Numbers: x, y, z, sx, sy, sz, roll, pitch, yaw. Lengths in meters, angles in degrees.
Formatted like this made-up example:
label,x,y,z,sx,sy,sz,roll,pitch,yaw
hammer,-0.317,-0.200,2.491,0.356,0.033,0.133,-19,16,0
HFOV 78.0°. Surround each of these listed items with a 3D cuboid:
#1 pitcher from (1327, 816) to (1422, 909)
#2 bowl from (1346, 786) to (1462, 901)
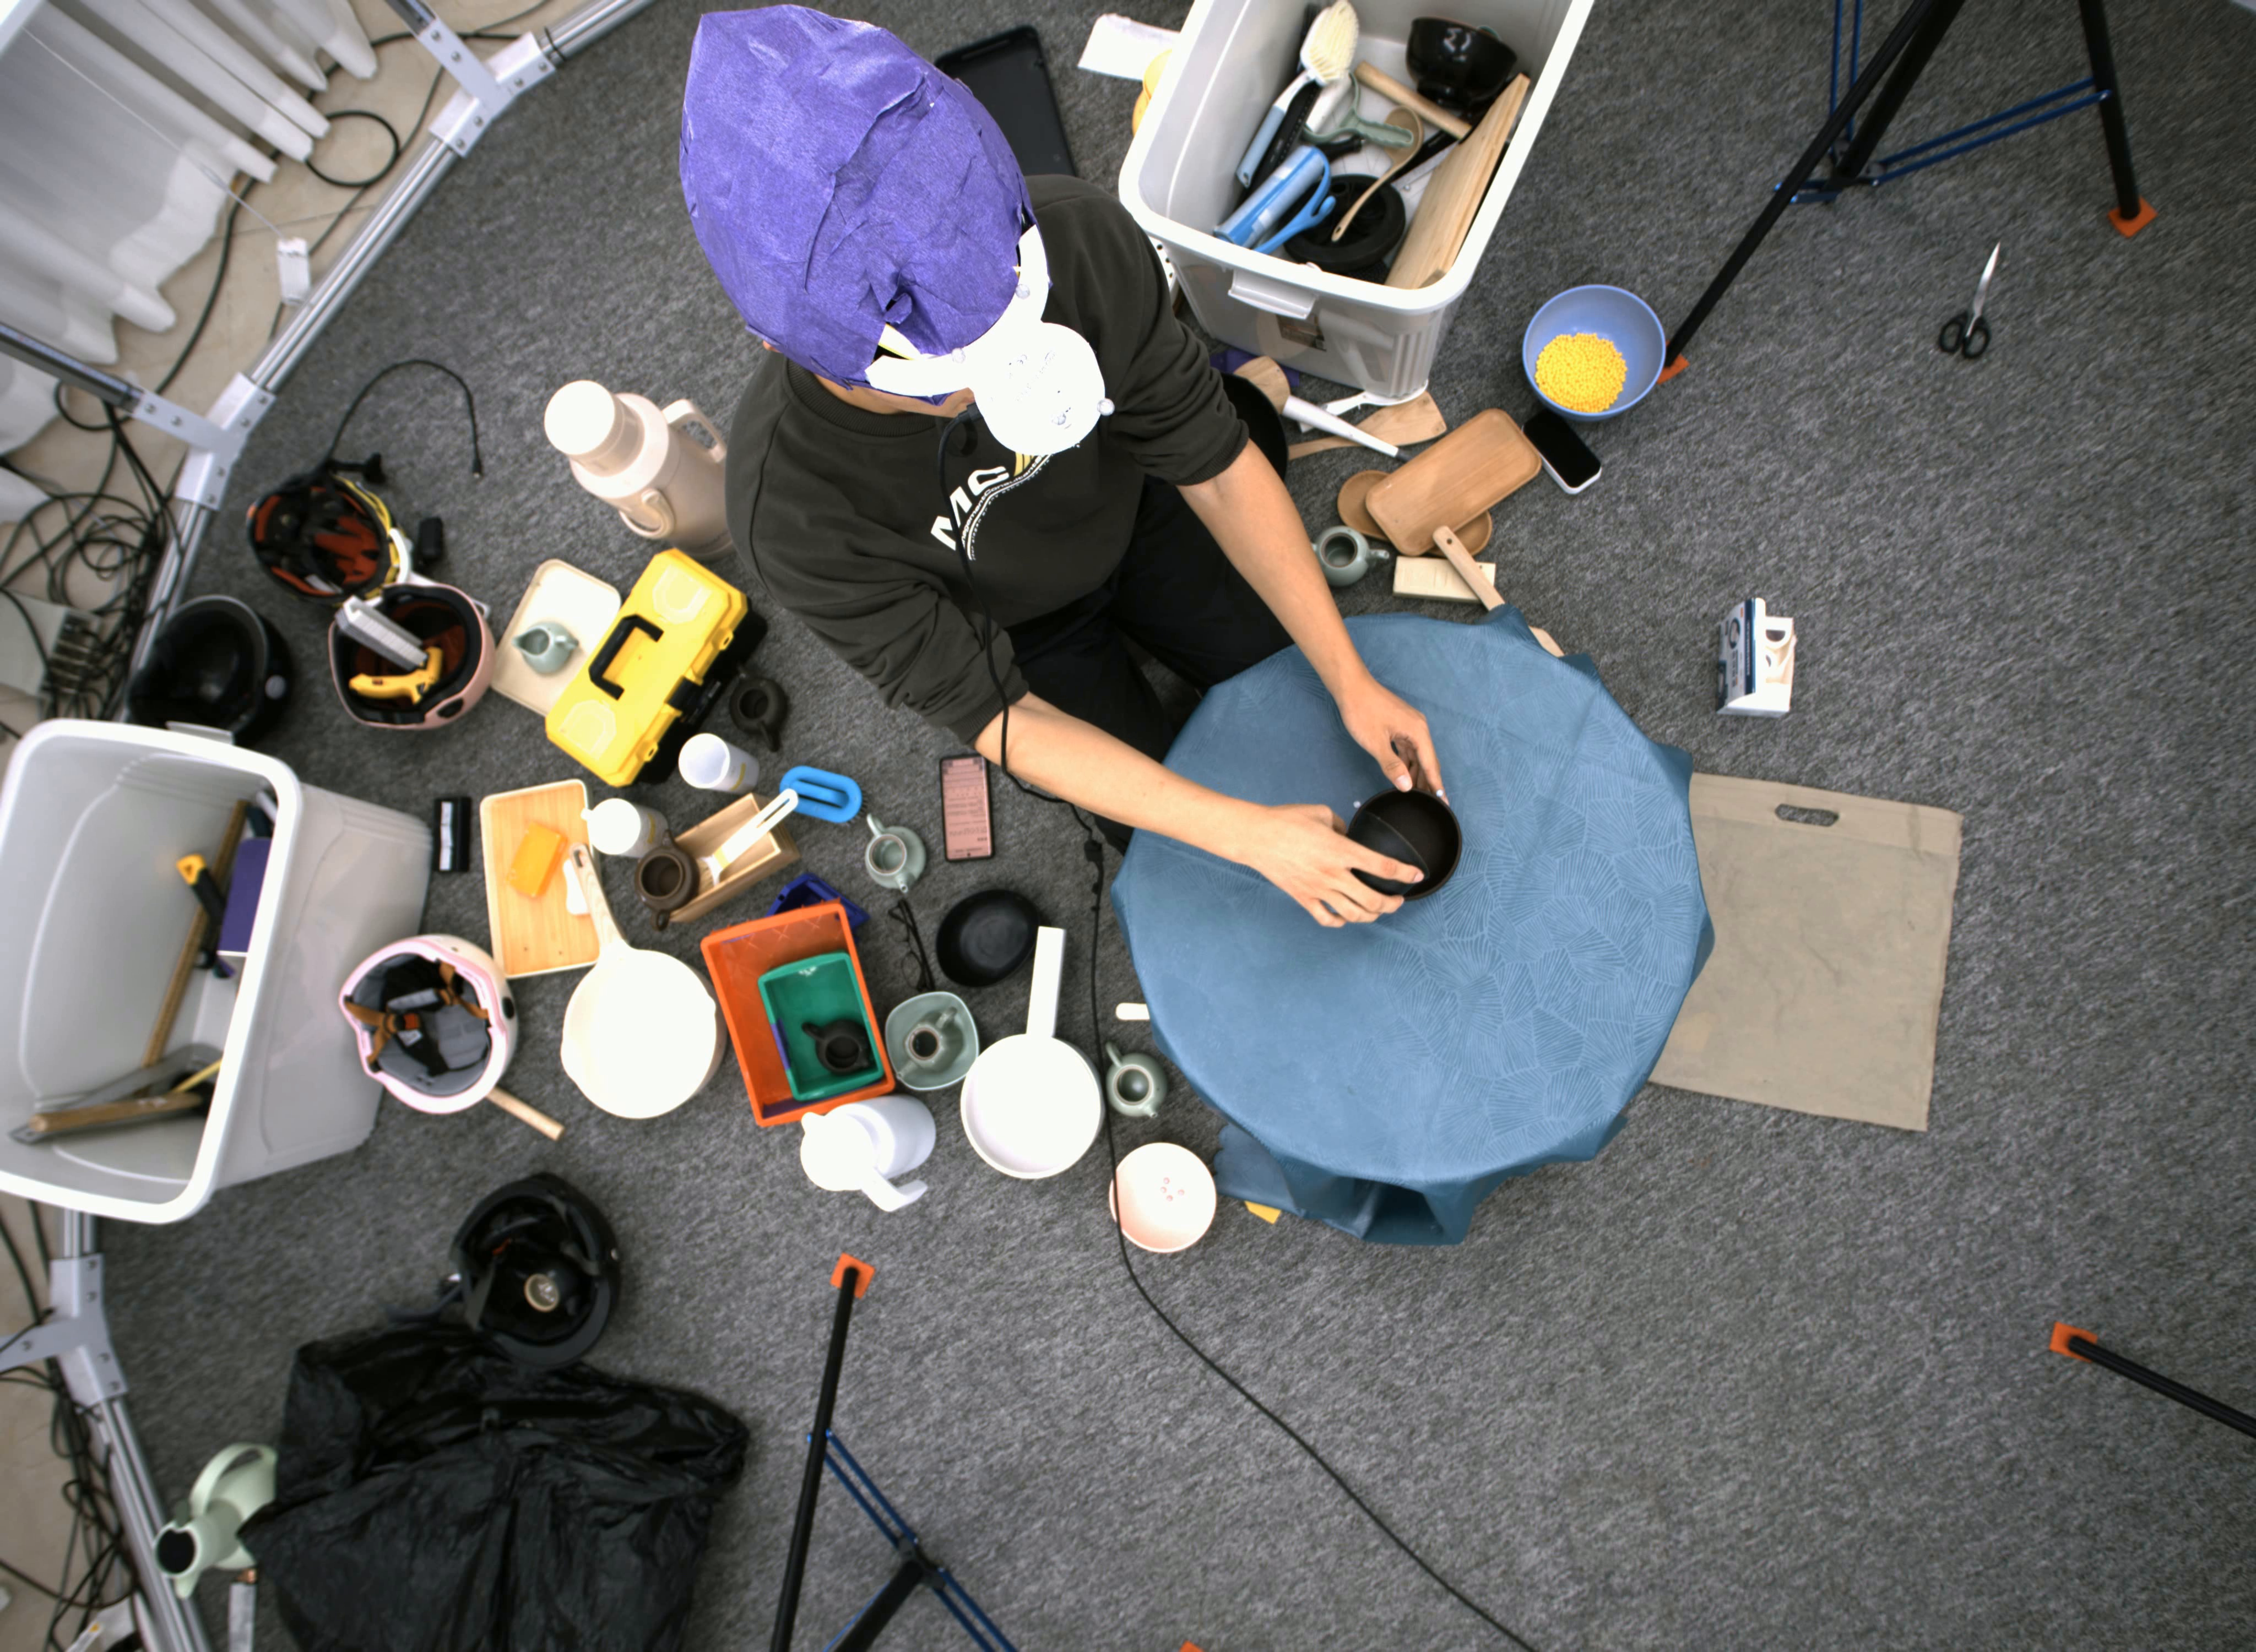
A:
label,x,y,z,sx,sy,sz,roll,pitch,yaw
pitcher,0.237,0.040,1.353,0.083,0.097,0.071,41,81,19
bowl,0.284,0.018,1.424,0.118,0.070,0.117,-1,88,10
